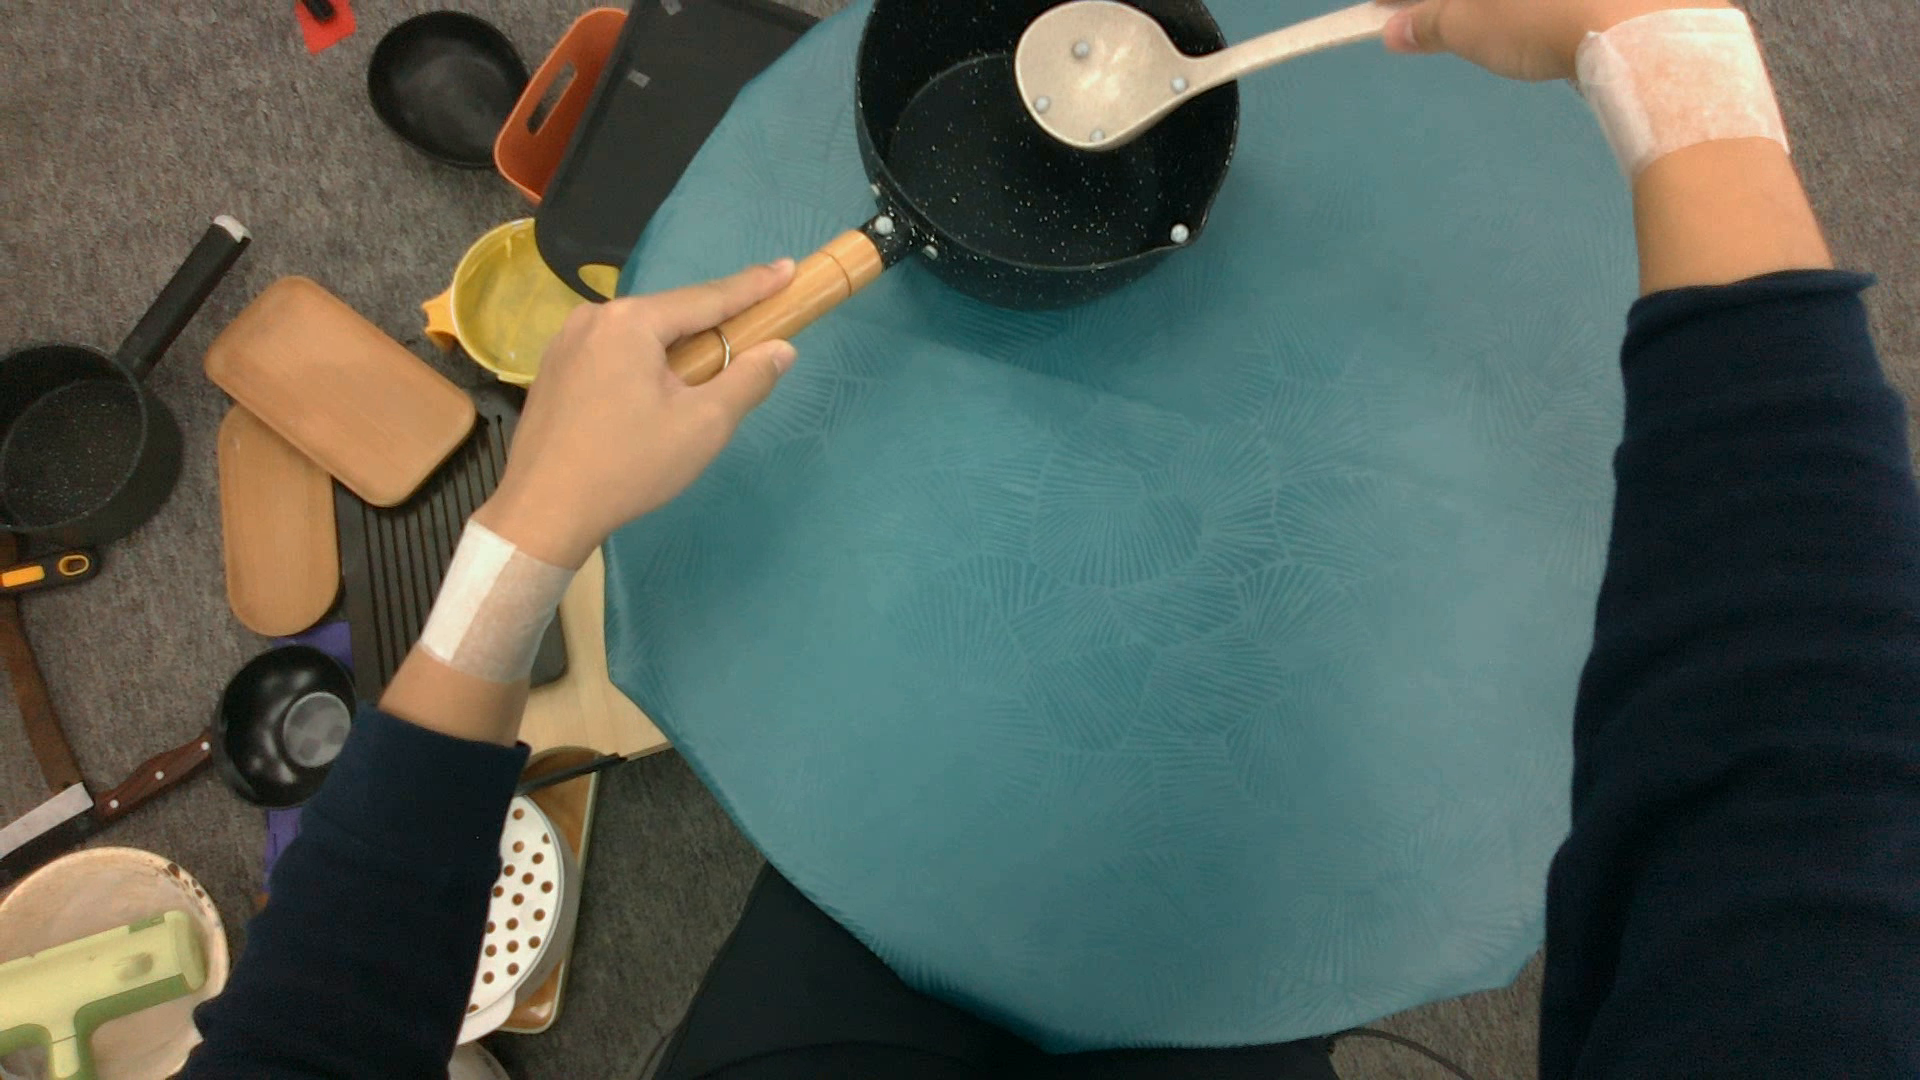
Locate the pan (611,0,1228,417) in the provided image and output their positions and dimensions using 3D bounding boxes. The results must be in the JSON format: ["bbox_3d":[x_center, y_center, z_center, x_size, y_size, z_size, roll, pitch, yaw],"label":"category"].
[{"bbox_3d":[-0.022,-0.155,0.663,0.344,0.108,0.207,-43,84,-17],"label":"pan"}]

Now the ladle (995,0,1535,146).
[{"bbox_3d":[0.130,-0.238,0.617,0.069,0.274,0.089,44,63,-33],"label":"ladle"}]
